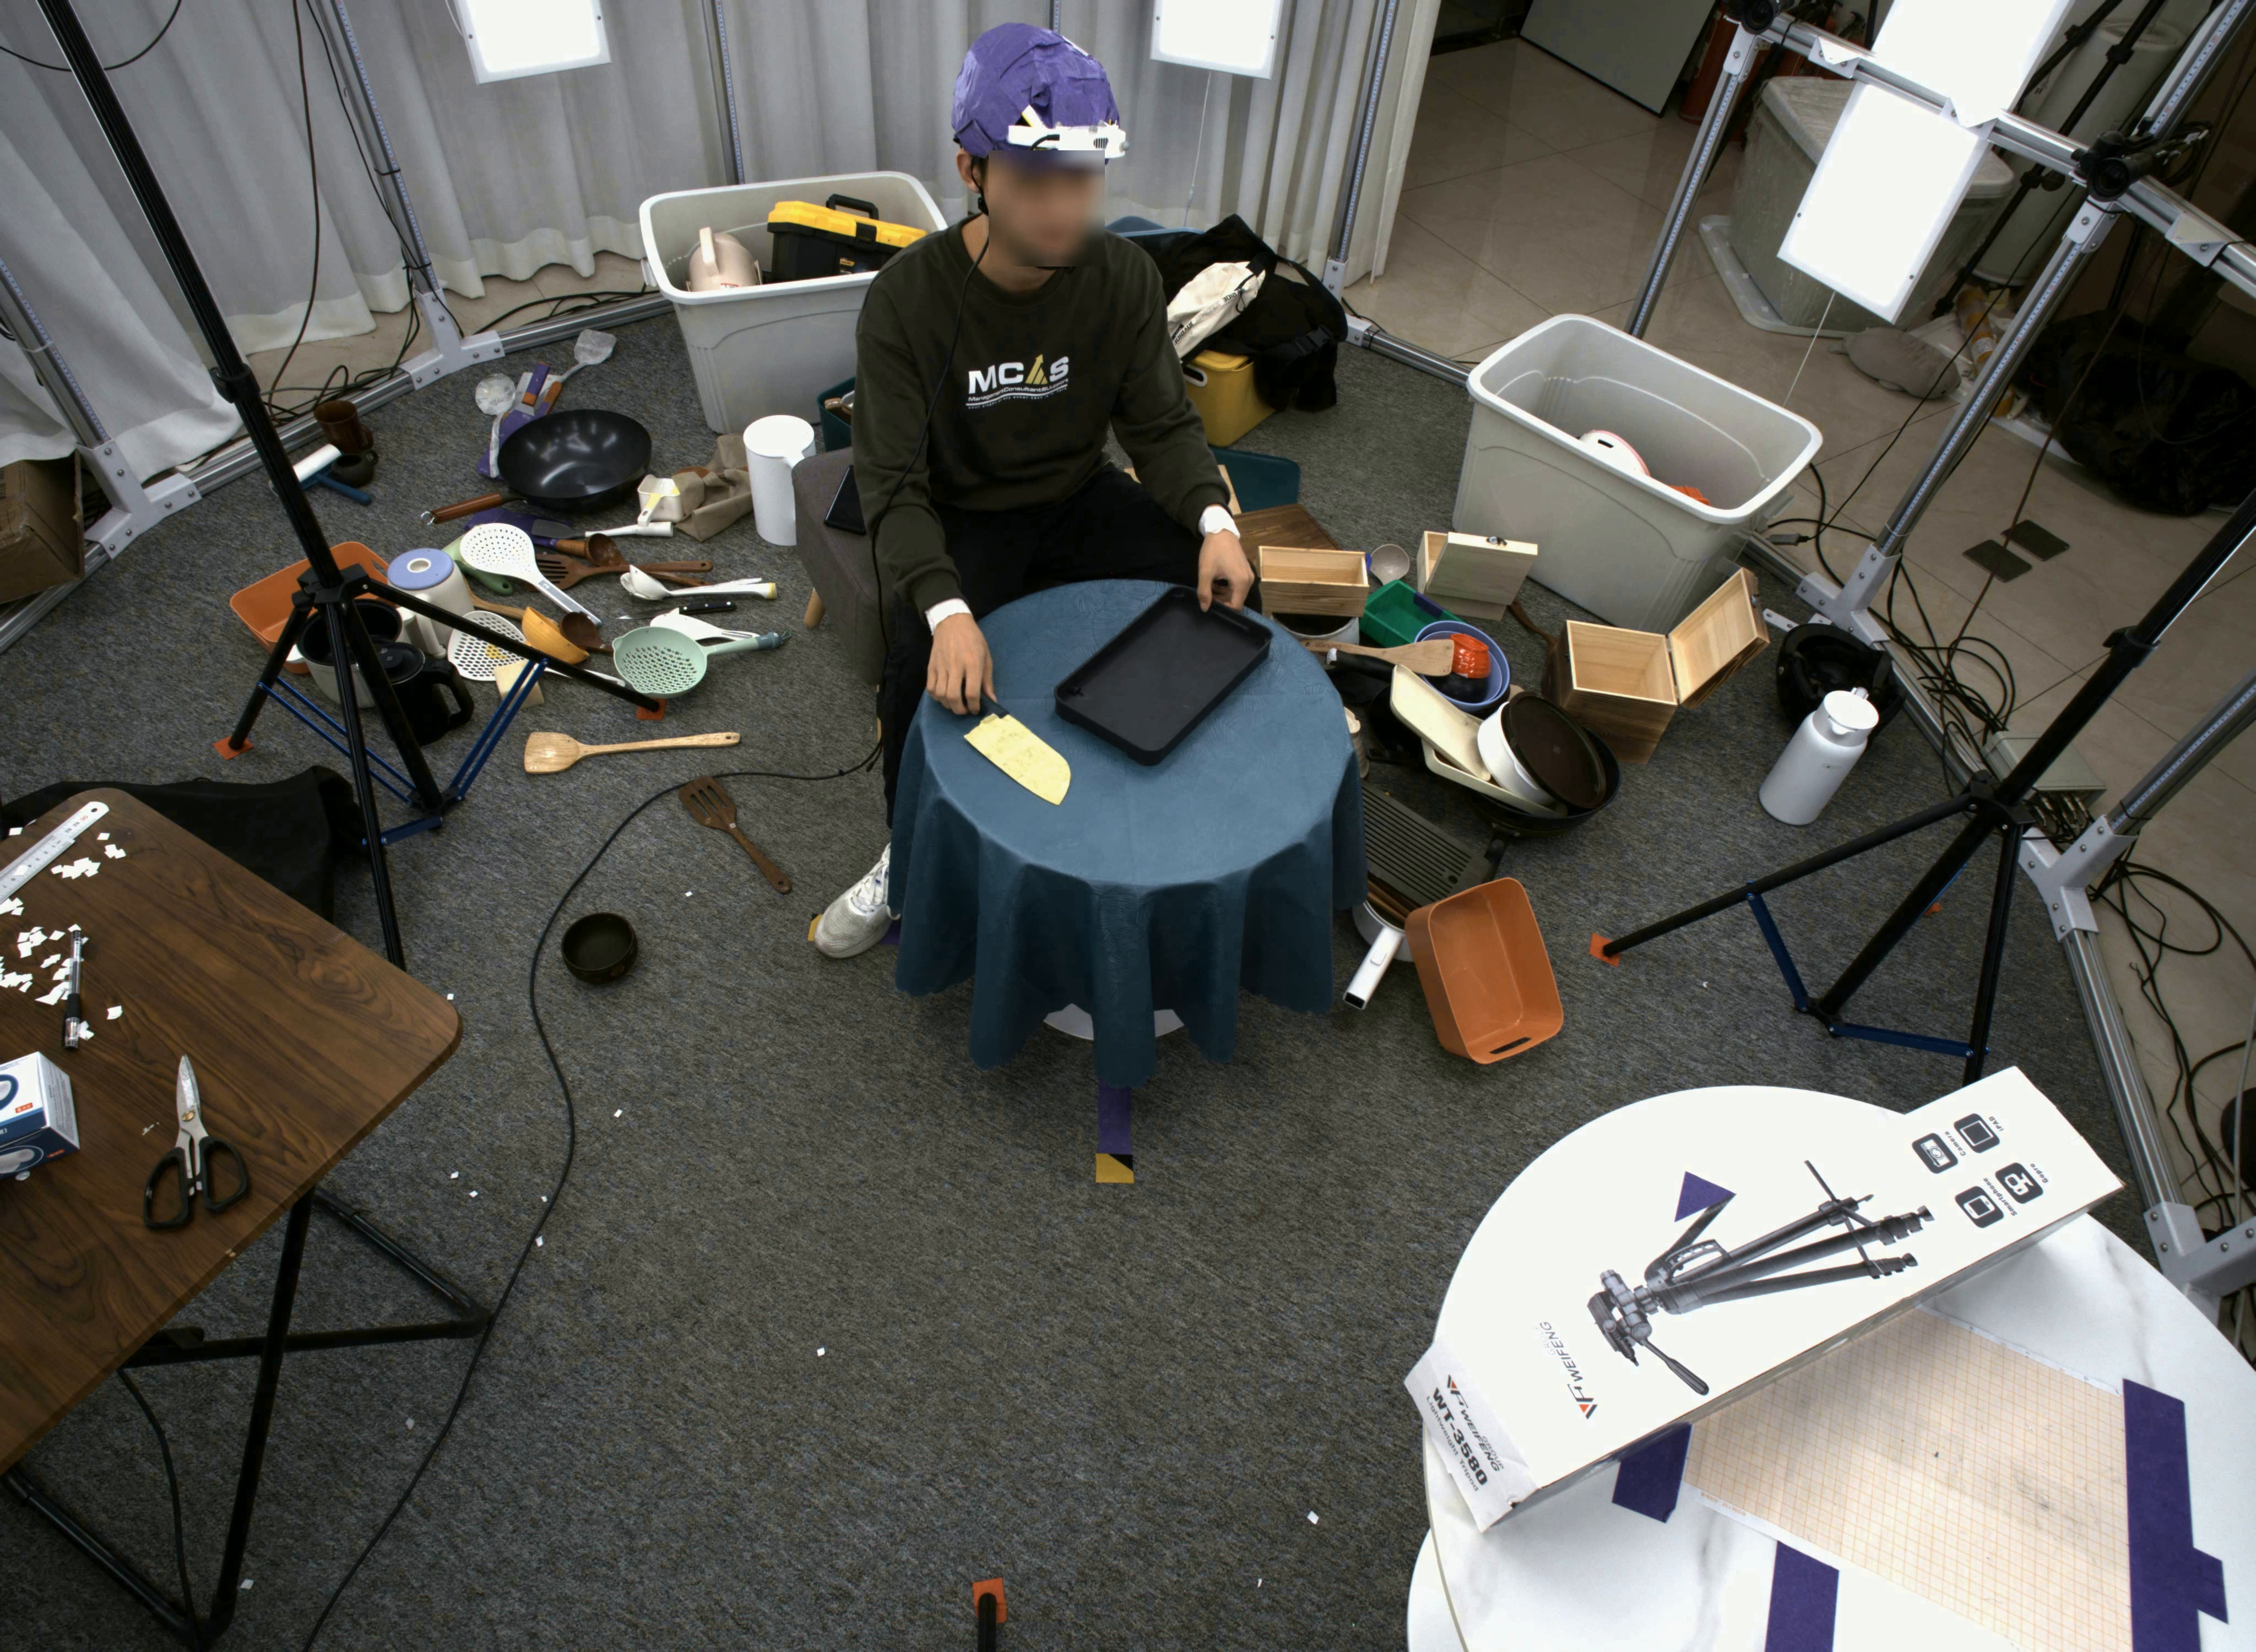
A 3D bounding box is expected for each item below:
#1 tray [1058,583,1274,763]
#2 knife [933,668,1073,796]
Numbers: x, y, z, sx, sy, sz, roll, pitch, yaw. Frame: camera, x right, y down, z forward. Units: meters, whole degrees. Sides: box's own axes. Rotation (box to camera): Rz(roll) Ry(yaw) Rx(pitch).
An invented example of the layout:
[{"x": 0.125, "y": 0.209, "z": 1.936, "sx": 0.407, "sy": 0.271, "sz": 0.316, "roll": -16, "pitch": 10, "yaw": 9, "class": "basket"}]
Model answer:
[{"x": 0.058, "y": -0.226, "z": 1.844, "sx": 0.186, "sy": 0.036, "sz": 0.322, "roll": 29, "pitch": 53, "yaw": 21, "class": "tray"}, {"x": -0.179, "y": -0.128, "z": 1.757, "sx": 0.081, "sy": 0.026, "sz": 0.294, "roll": -34, "pitch": 59, "yaw": -27, "class": "knife"}]
